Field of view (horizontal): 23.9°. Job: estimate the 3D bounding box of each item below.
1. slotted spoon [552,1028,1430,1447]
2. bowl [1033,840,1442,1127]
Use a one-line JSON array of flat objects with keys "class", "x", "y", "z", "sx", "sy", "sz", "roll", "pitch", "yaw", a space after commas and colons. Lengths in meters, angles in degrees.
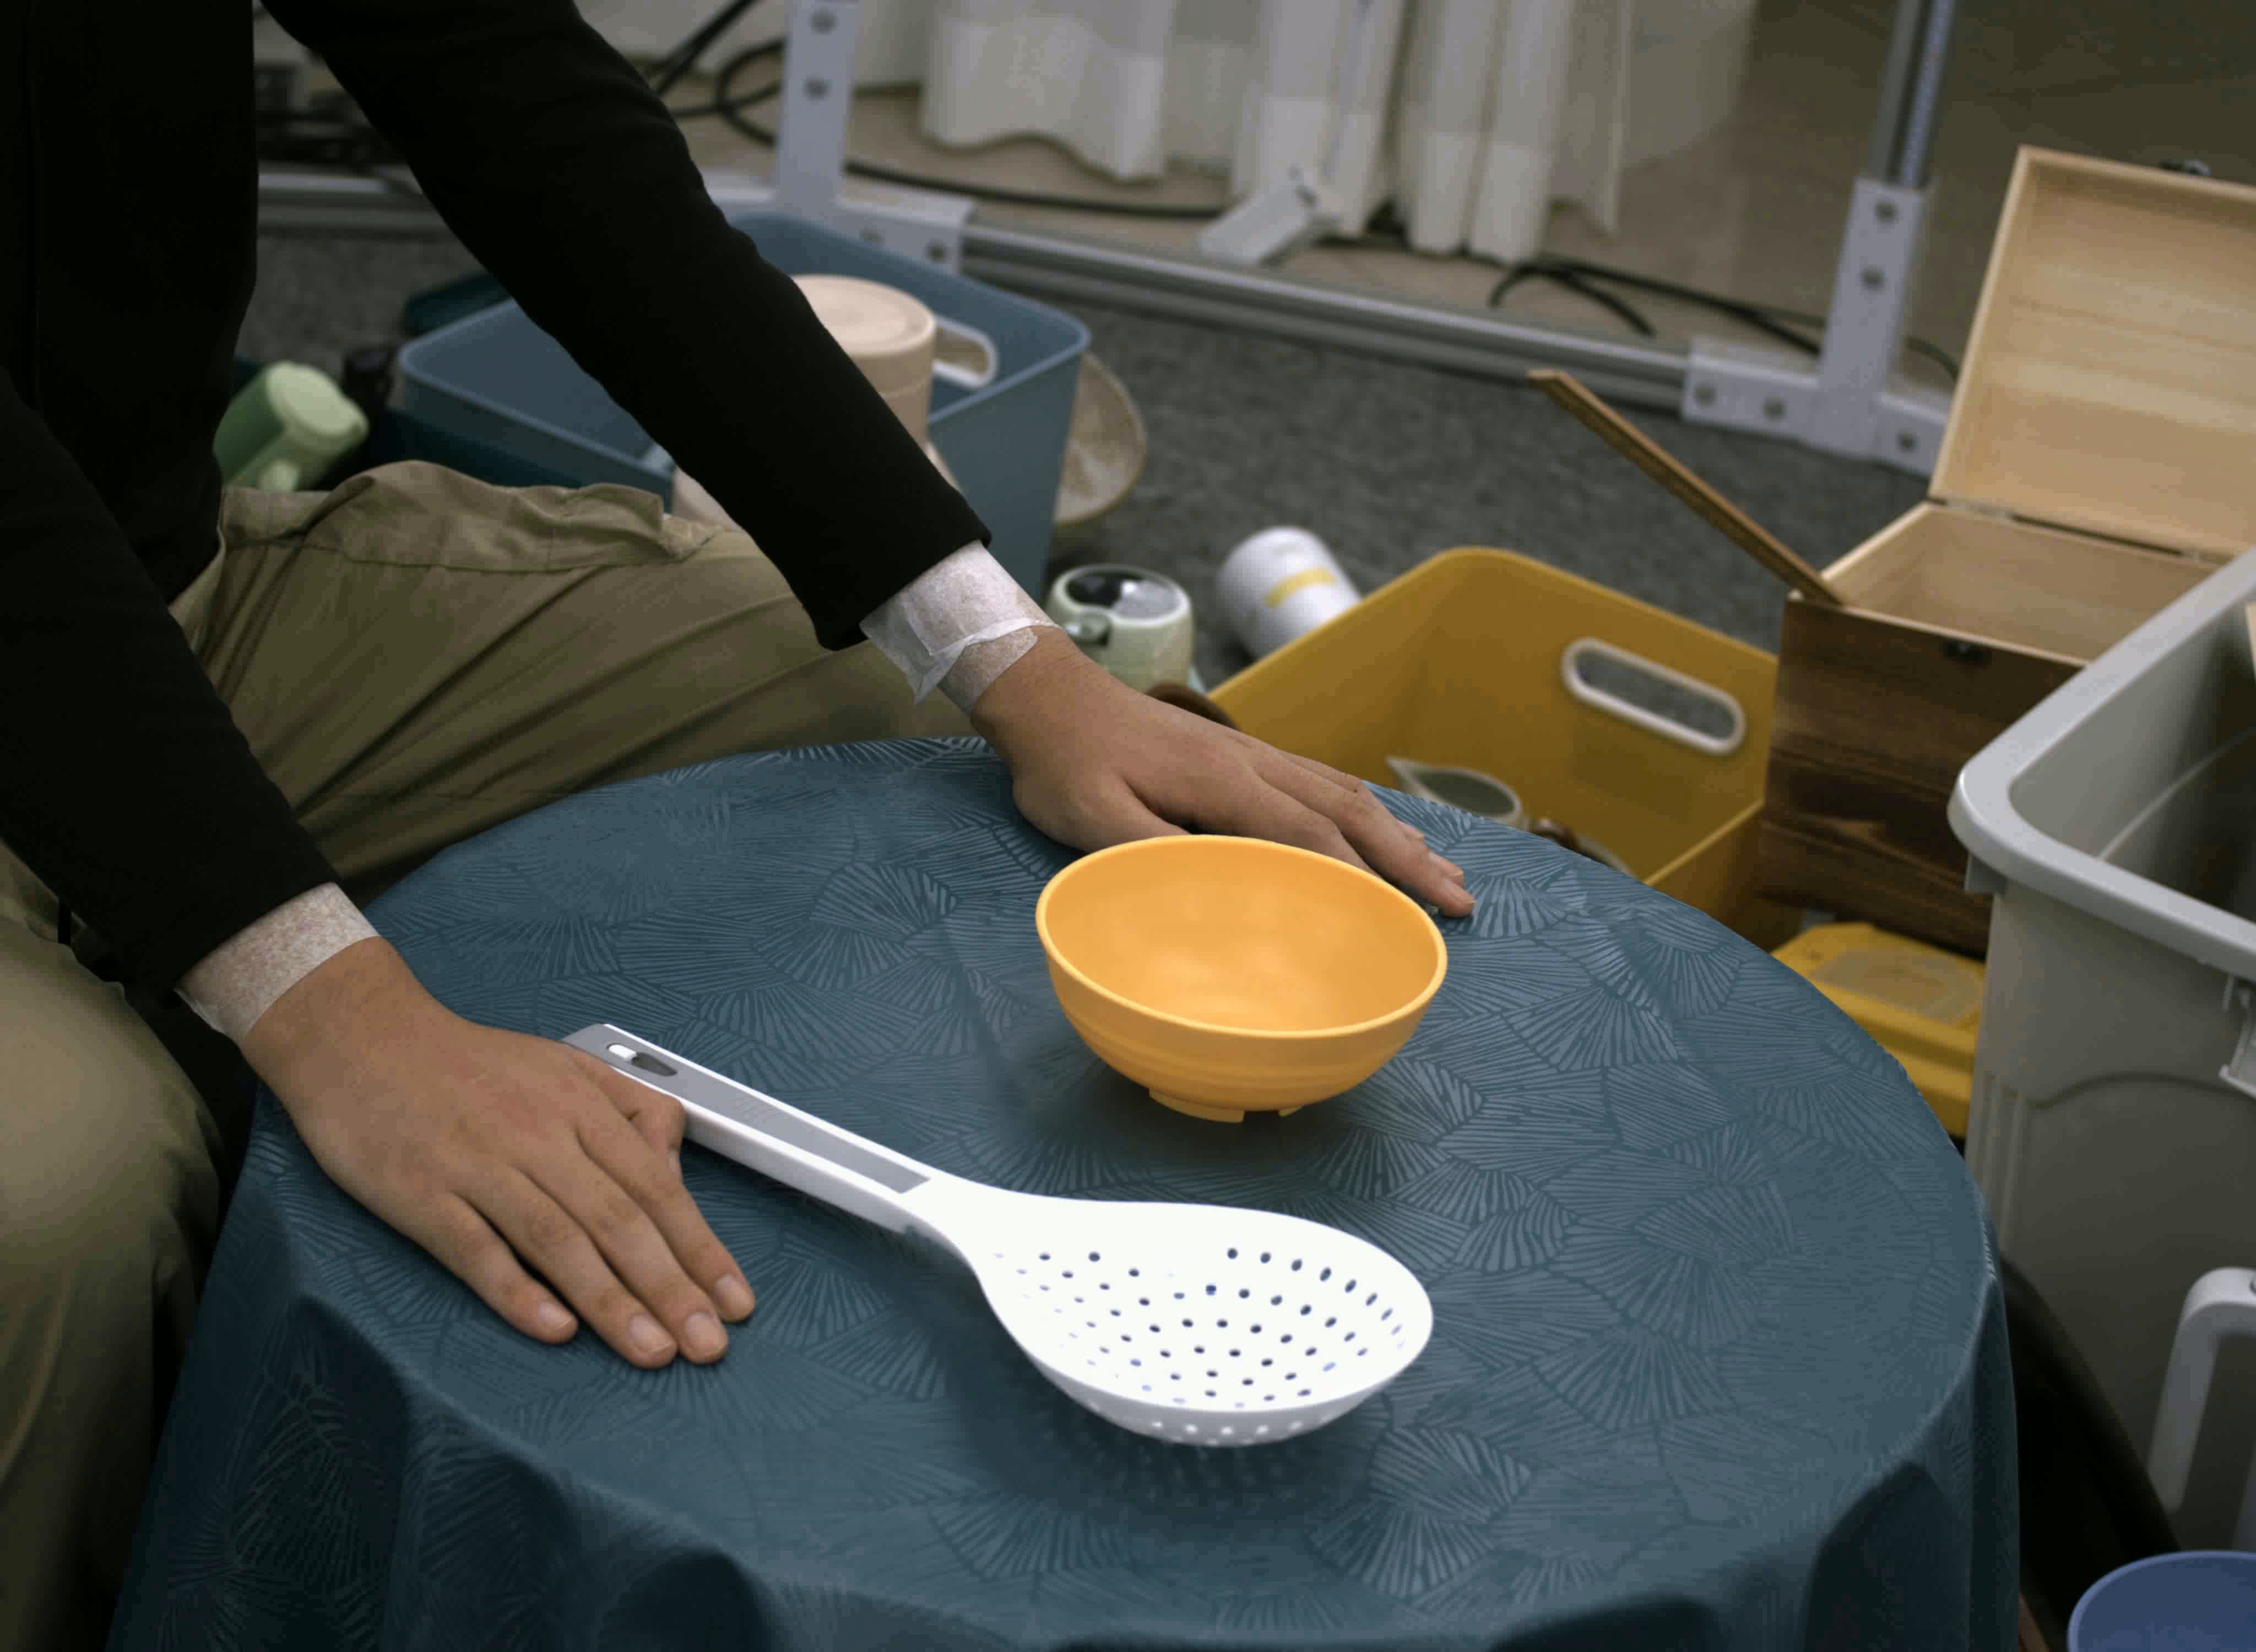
[{"class": "slotted spoon", "x": -0.057, "y": 0.127, "z": 1.732, "sx": 0.352, "sy": 0.045, "sz": 0.135, "roll": 24, "pitch": 31, "yaw": 33}, {"class": "bowl", "x": 0.034, "y": 0.064, "z": 1.866, "sx": 0.145, "sy": 0.060, "sz": 0.146, "roll": 7, "pitch": 26, "yaw": -4}]
